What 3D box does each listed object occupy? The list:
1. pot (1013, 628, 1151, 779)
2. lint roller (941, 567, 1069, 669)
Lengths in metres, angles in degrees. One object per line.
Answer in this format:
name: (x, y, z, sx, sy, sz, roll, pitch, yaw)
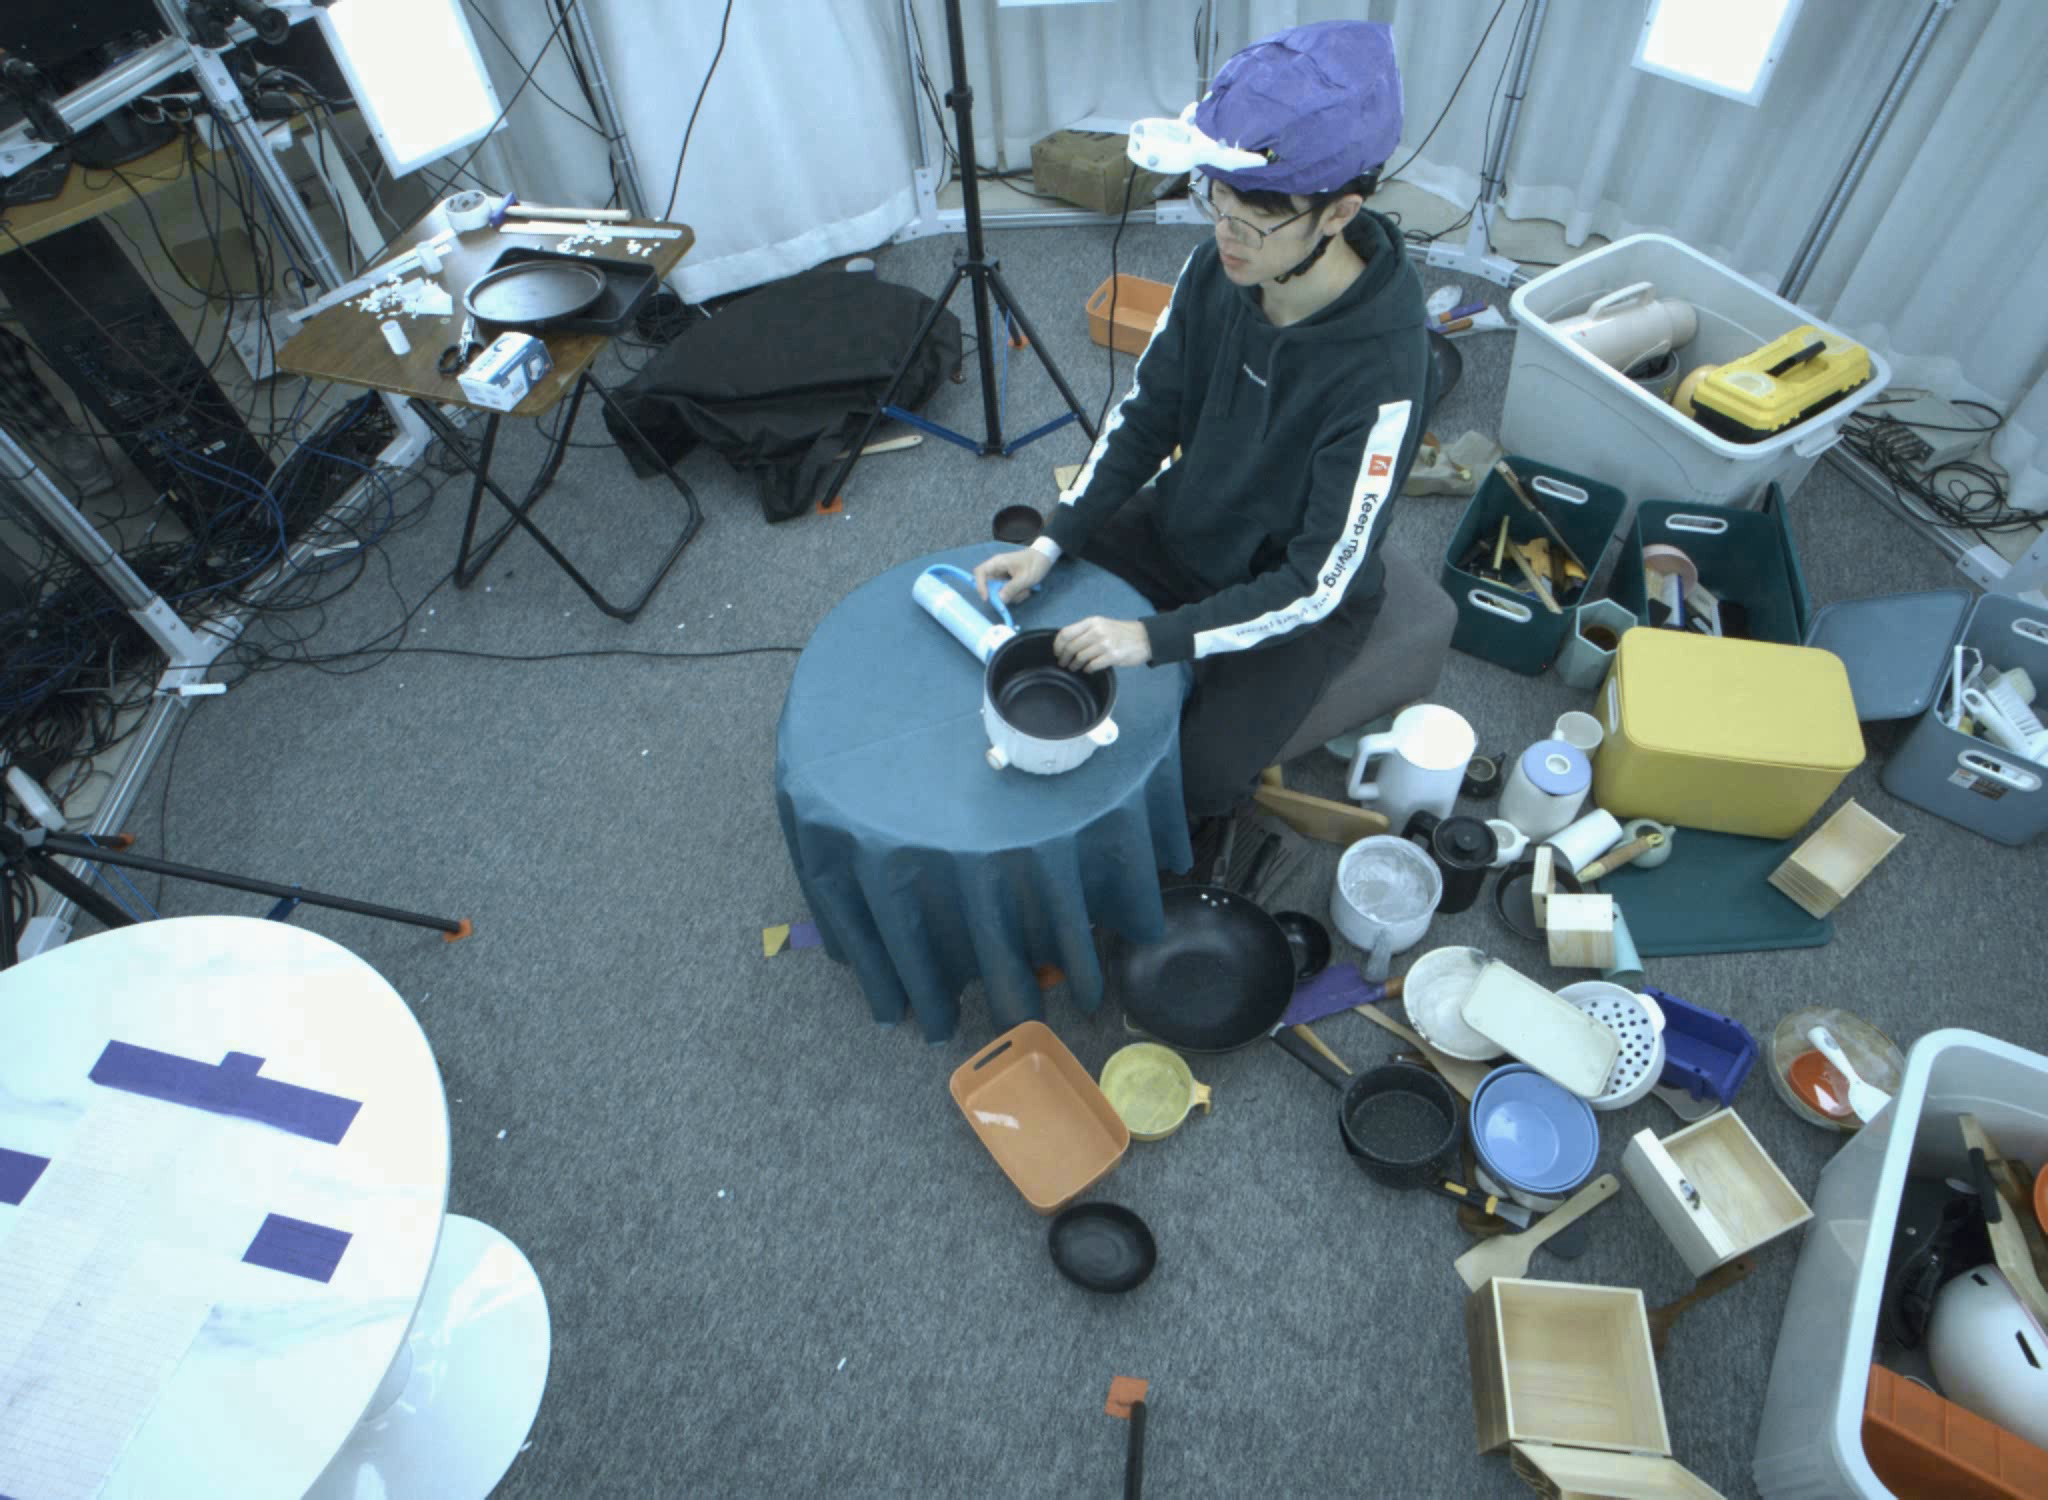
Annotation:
pot: (0.071, -0.050, 1.721, 0.192, 0.143, 0.237, -38, 72, -27)
lint roller: (-0.006, -0.230, 1.907, 0.182, 0.069, 0.224, -35, 56, -23)
